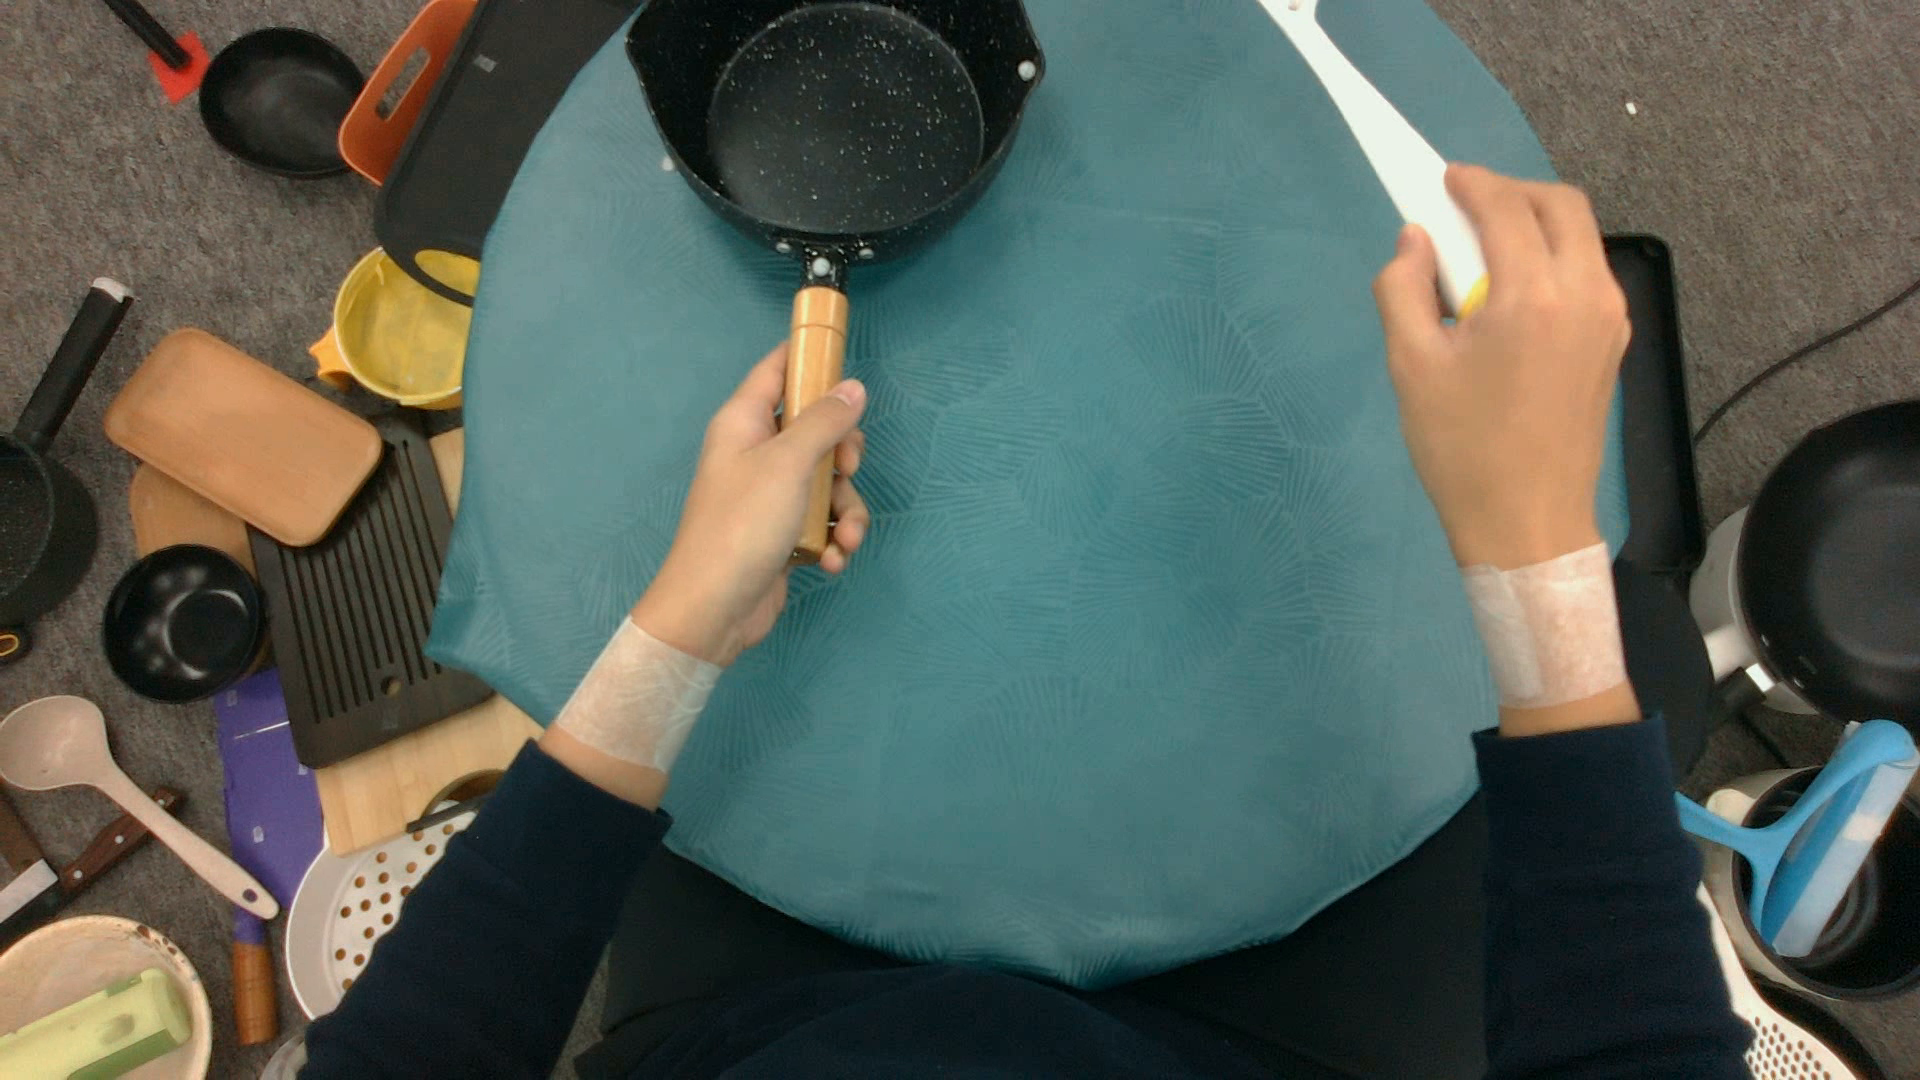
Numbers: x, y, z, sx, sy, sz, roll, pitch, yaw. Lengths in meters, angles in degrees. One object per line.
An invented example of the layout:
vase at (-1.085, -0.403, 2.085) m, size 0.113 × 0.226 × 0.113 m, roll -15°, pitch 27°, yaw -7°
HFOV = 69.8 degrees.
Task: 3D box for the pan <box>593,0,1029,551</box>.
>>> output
pan at (-0.073, -0.156, 0.669) m, size 0.207 × 0.108 × 0.343 m, roll 2°, pitch 78°, yaw -3°

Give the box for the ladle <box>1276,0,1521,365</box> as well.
ladle at (0.183, -0.208, 0.600) m, size 0.090 × 0.069 × 0.294 m, roll 3°, pitch 54°, yaw -20°
